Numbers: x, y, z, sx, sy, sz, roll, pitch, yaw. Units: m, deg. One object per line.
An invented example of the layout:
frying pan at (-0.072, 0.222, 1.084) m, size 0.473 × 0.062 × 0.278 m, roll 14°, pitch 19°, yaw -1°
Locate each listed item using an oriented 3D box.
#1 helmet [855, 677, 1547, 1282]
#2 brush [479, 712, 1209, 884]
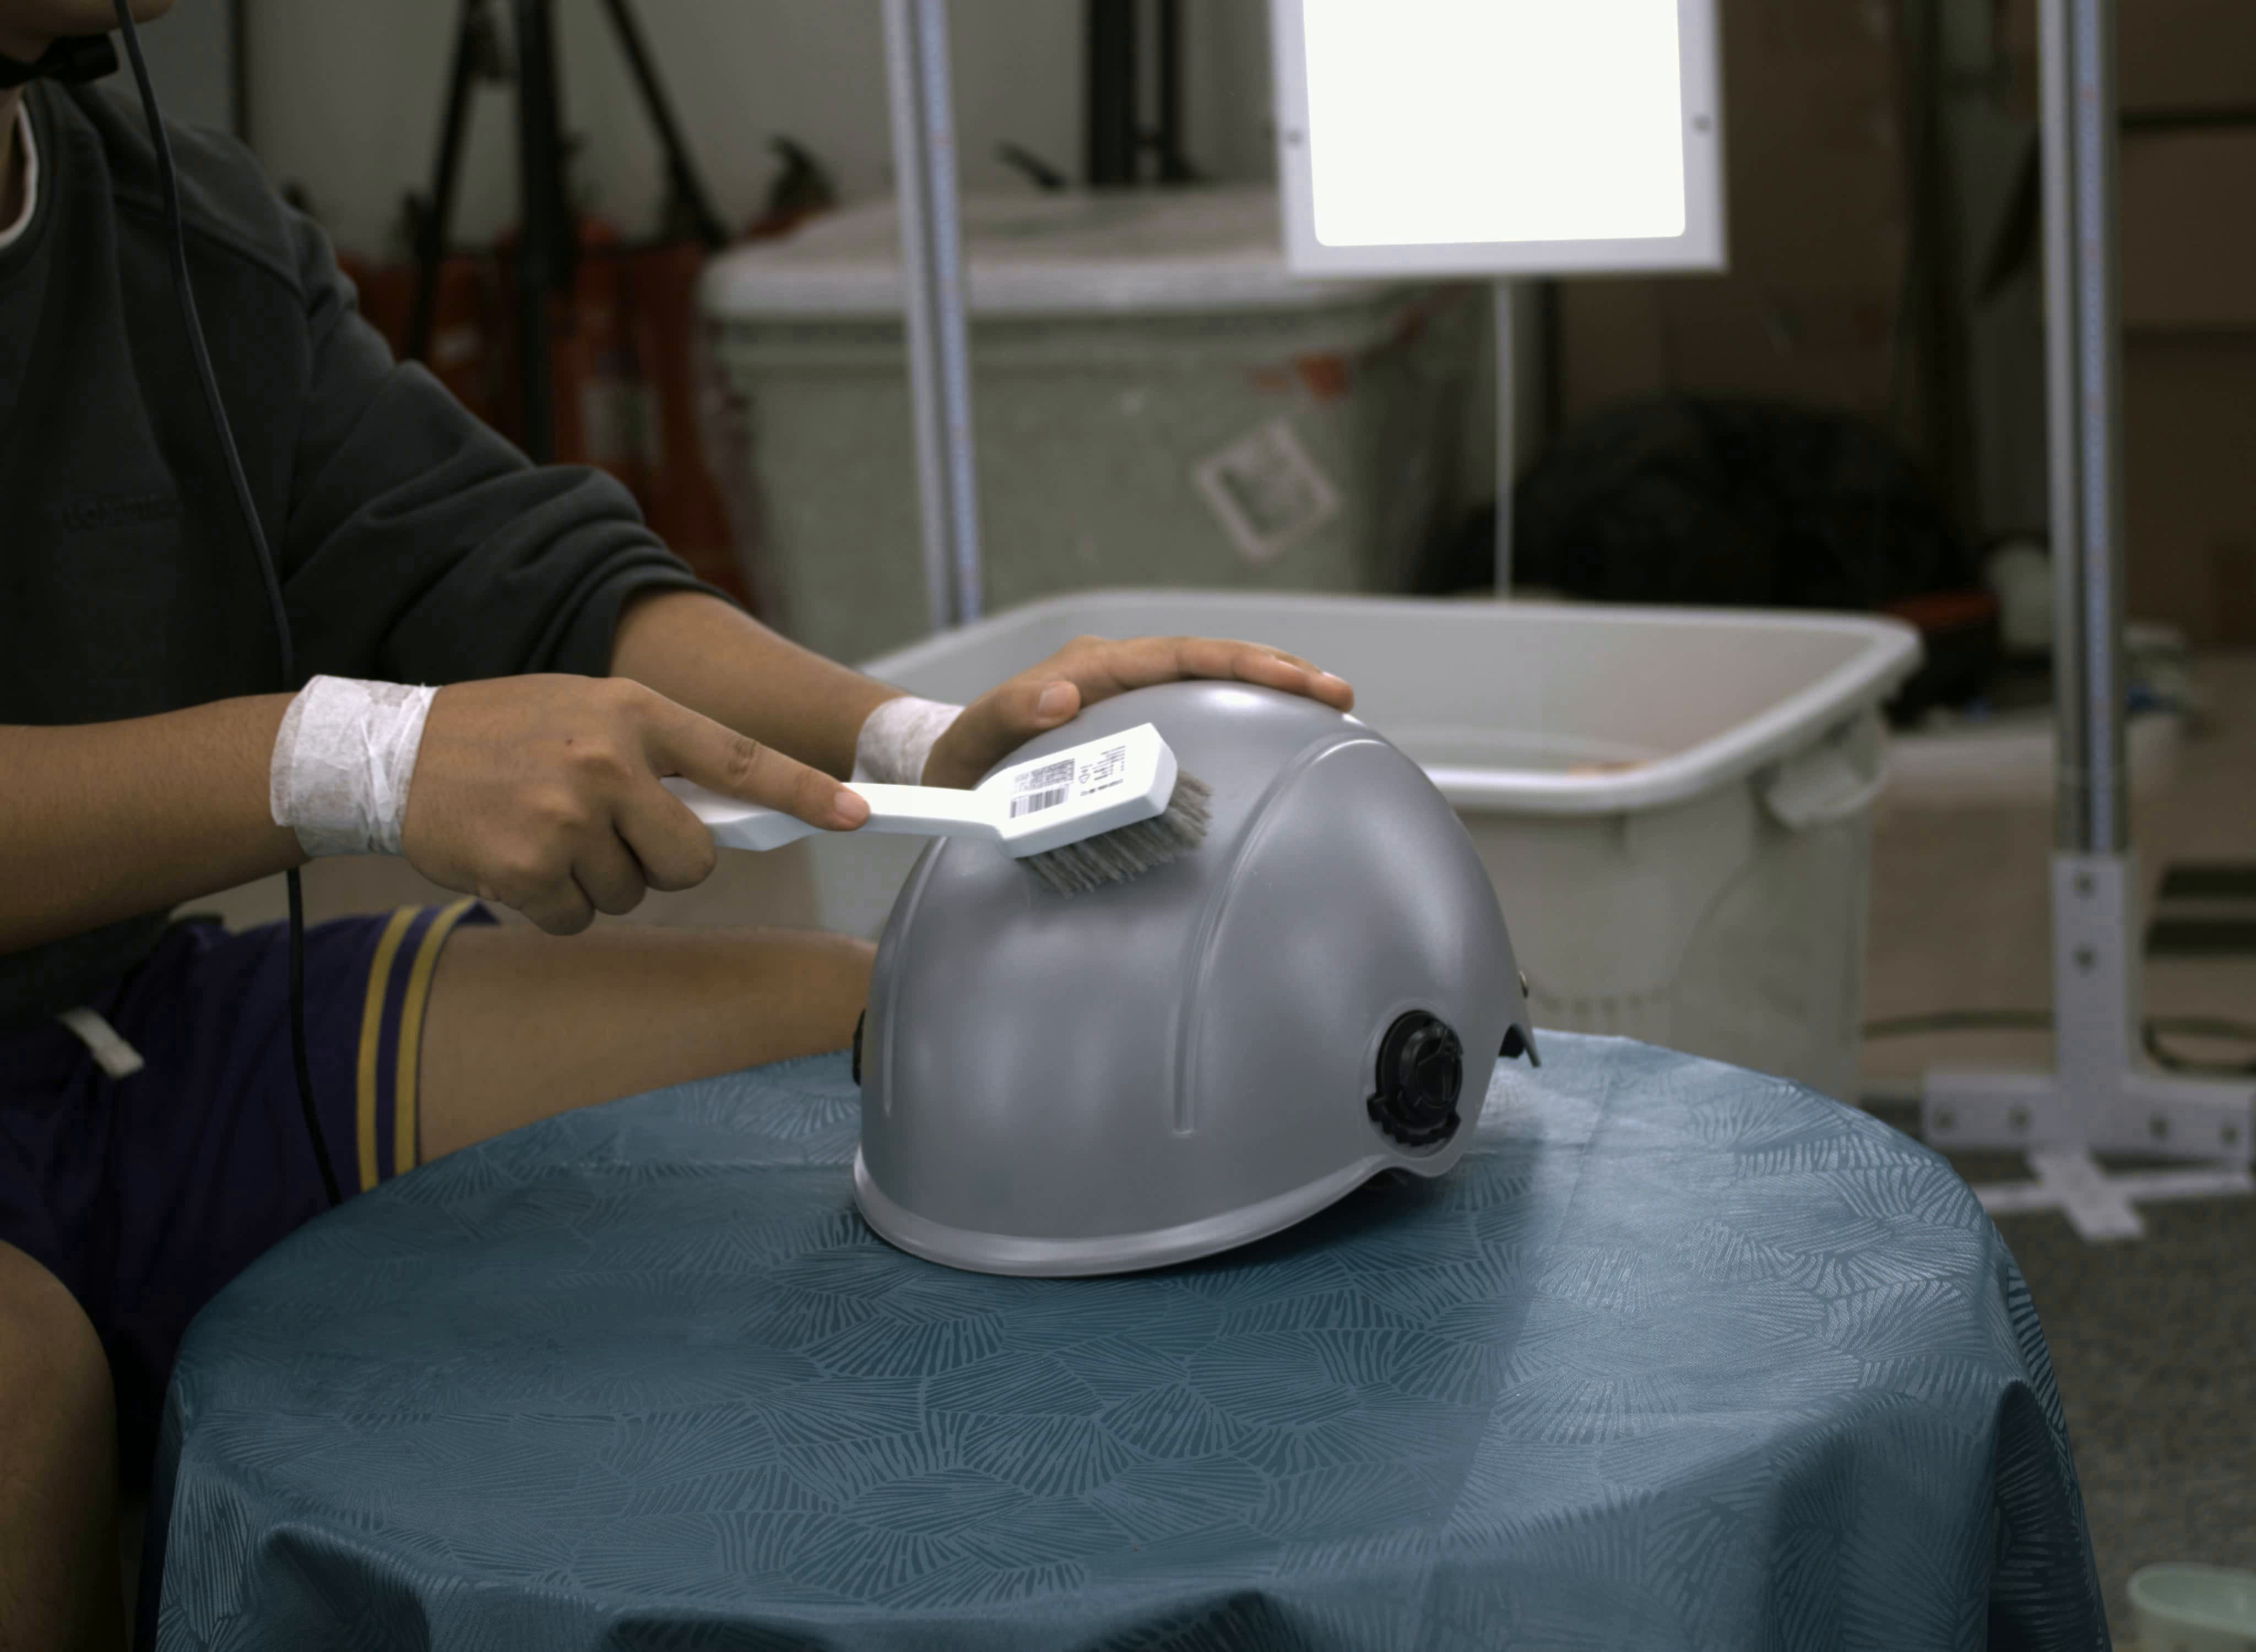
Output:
helmet at (0.017, 0.039, 1.912) m, size 0.236 × 0.169 × 0.270 m, roll 1°, pitch 16°, yaw 30°
brush at (-0.093, 0.002, 1.828) m, size 0.245 × 0.050 × 0.034 m, roll -7°, pitch 47°, yaw 11°
